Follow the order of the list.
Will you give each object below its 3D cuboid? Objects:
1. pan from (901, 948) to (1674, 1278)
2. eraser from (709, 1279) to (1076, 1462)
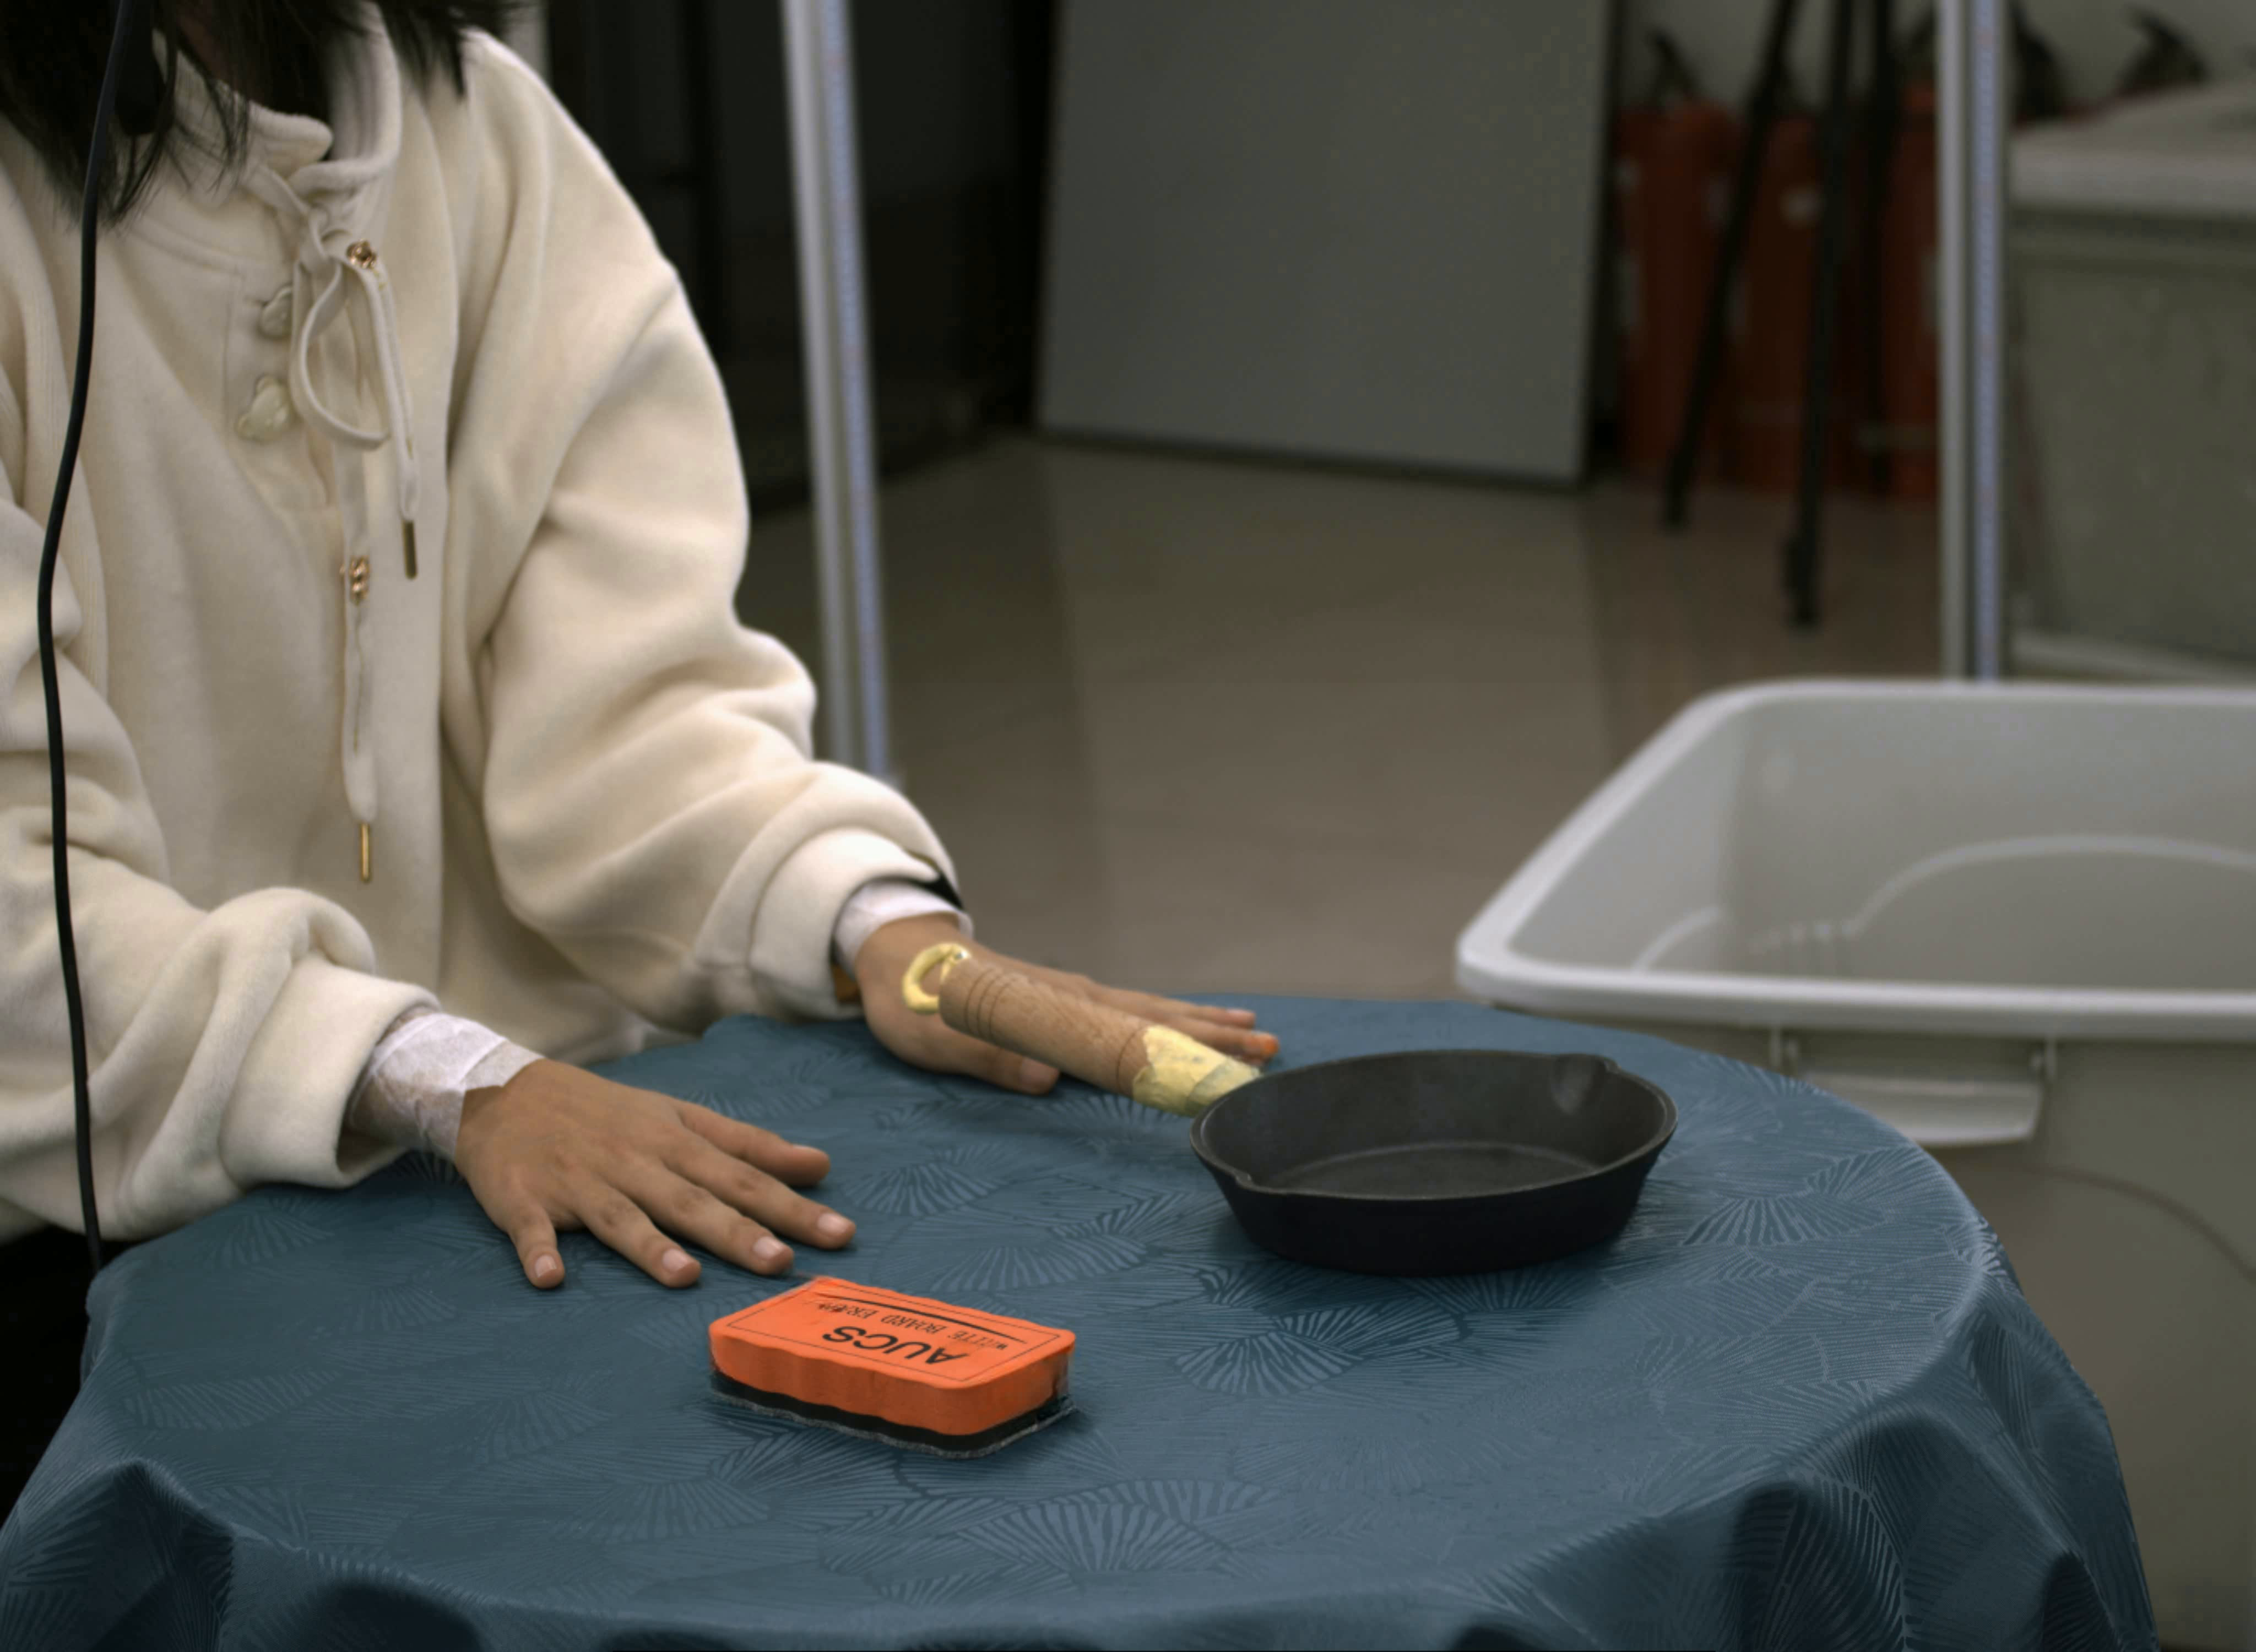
[{"bbox_3d":[0.039,0.089,1.780,0.165,0.050,0.327,-17,20,-40],"label":"pan"},{"bbox_3d":[-0.069,0.159,1.586,0.109,0.023,0.058,8,19,42],"label":"eraser"}]
